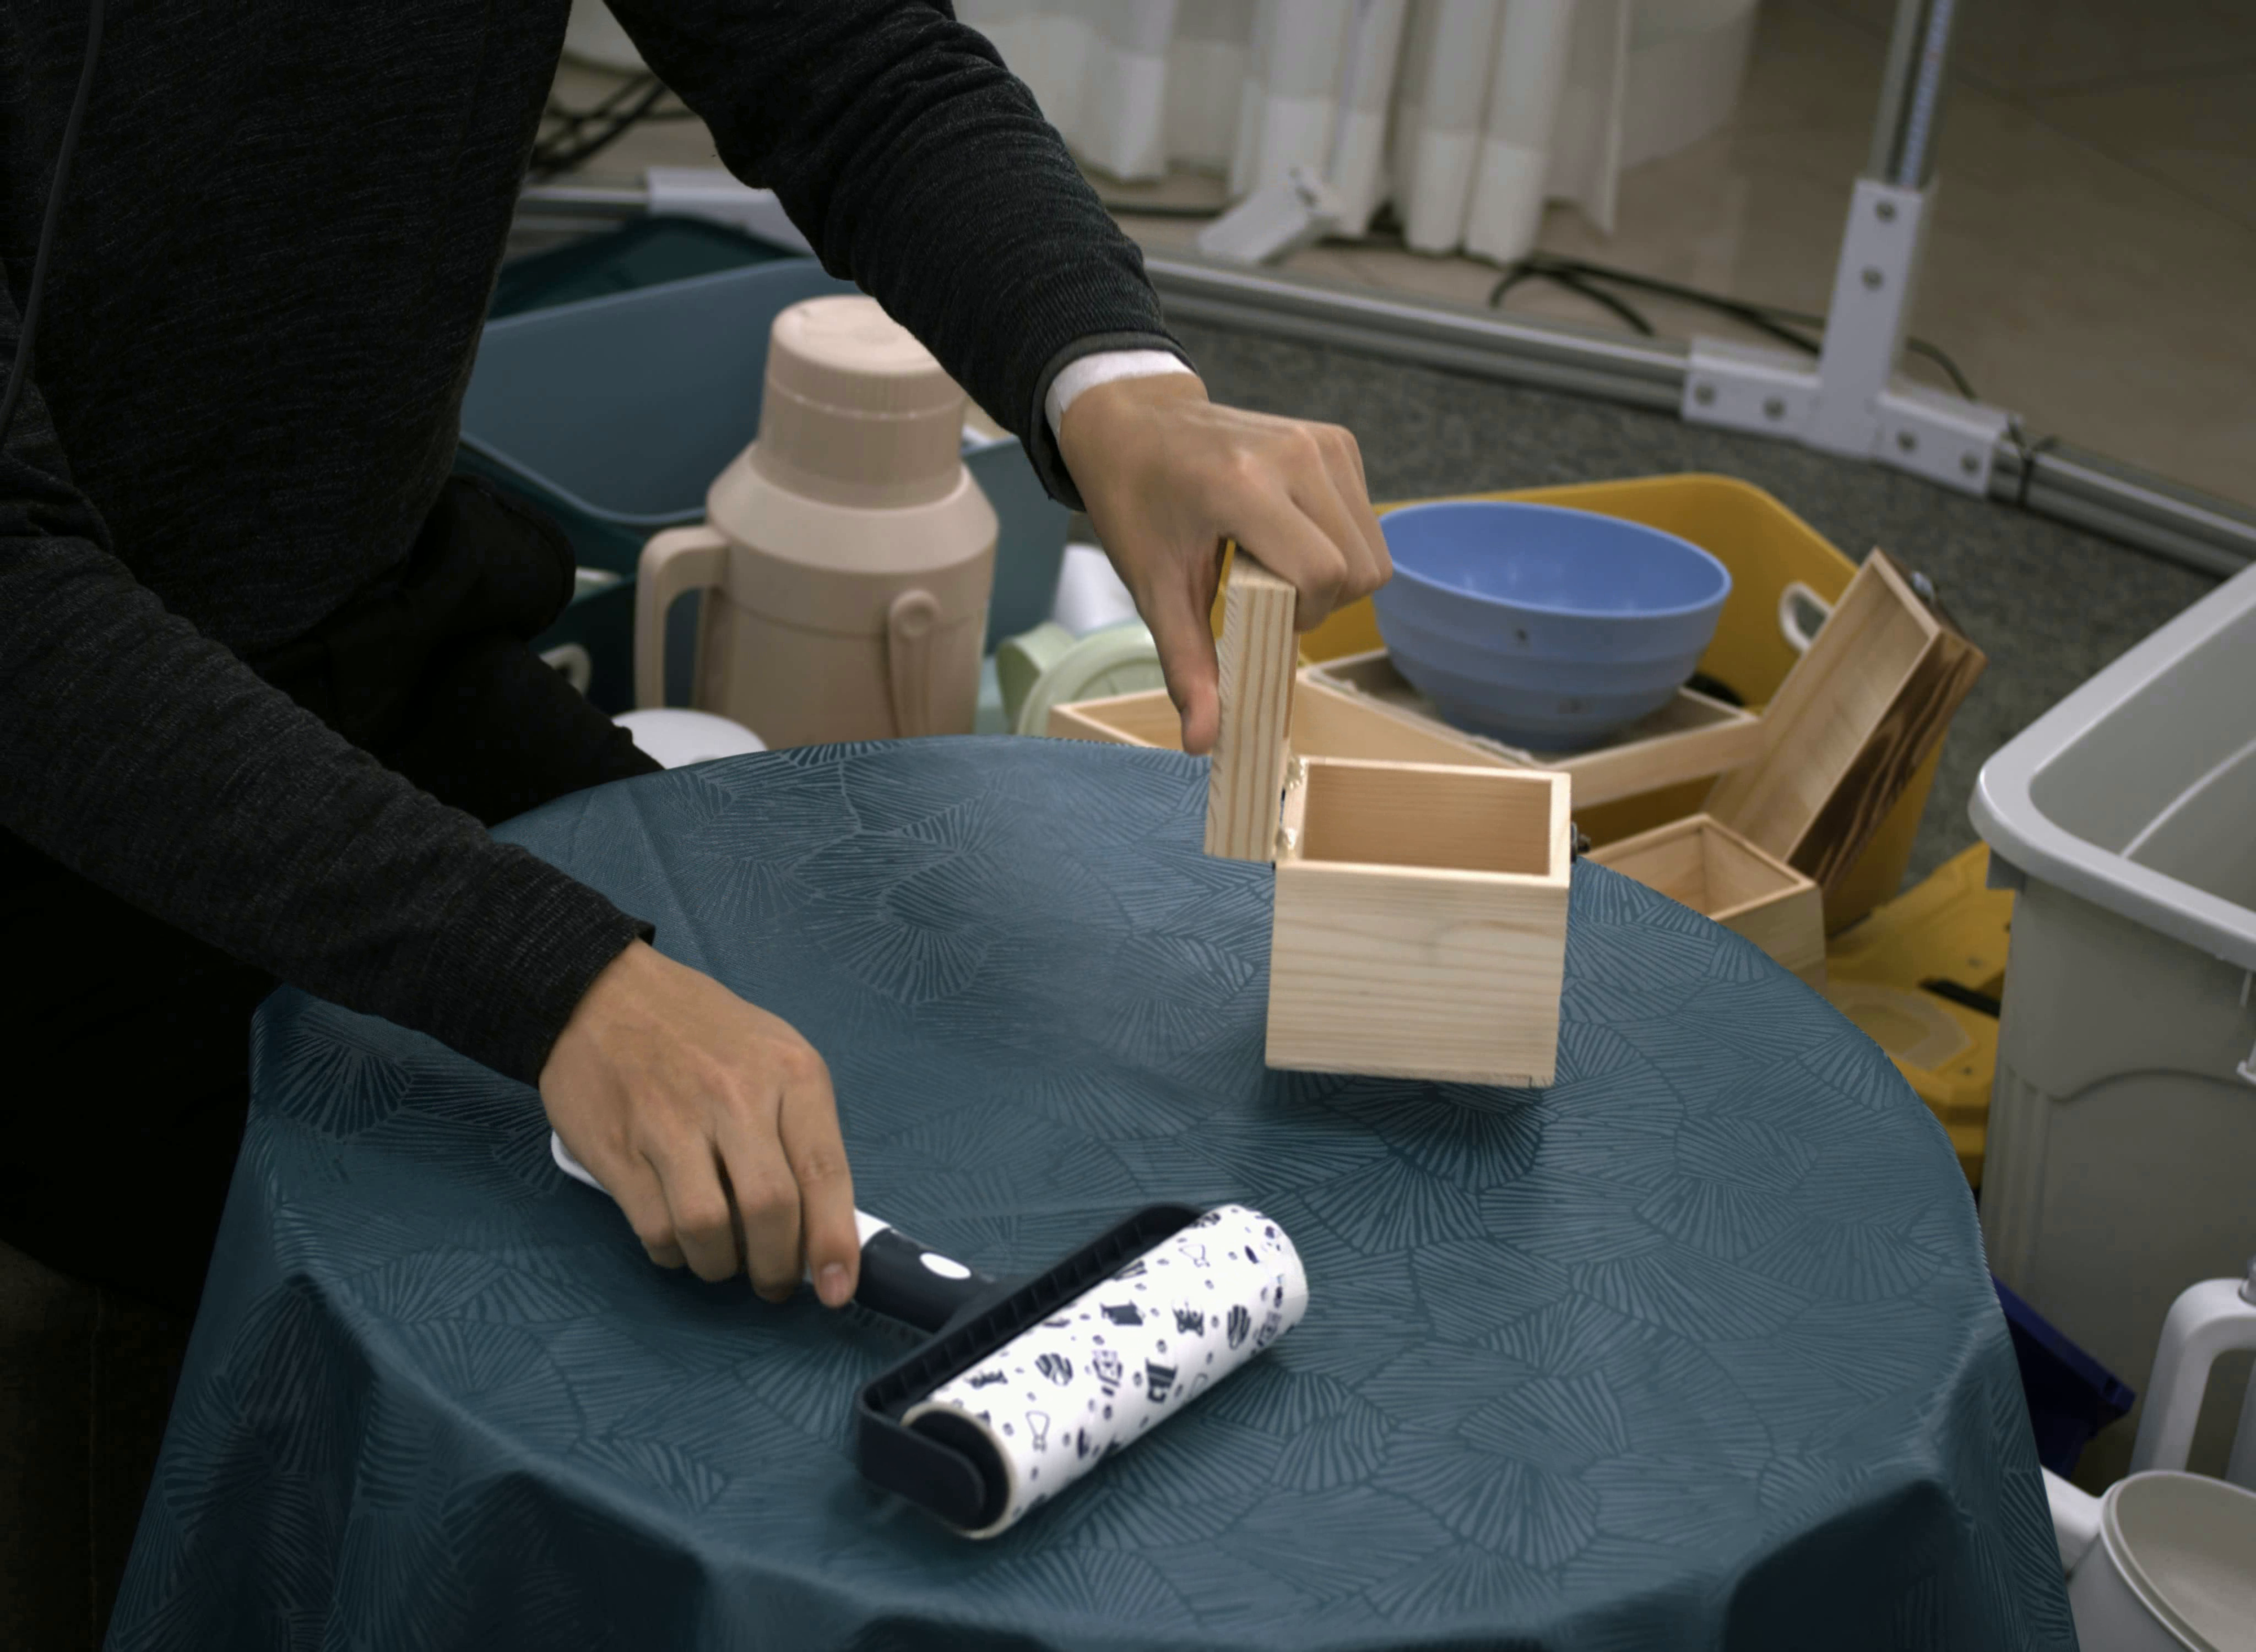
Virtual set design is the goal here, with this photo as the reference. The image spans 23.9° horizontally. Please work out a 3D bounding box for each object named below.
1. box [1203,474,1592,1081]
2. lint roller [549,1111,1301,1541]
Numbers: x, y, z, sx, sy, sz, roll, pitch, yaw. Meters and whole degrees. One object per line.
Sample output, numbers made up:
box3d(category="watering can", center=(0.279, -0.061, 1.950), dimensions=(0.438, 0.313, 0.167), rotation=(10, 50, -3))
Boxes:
box3d(category="box", center=(0.096, -0.019, 1.849), dimensions=(0.133, 0.184, 0.103), rotation=(4, 21, 4))
box3d(category="lint roller", center=(-0.089, 0.137, 1.709), dimensions=(0.248, 0.050, 0.176), rotation=(22, 32, 29))
